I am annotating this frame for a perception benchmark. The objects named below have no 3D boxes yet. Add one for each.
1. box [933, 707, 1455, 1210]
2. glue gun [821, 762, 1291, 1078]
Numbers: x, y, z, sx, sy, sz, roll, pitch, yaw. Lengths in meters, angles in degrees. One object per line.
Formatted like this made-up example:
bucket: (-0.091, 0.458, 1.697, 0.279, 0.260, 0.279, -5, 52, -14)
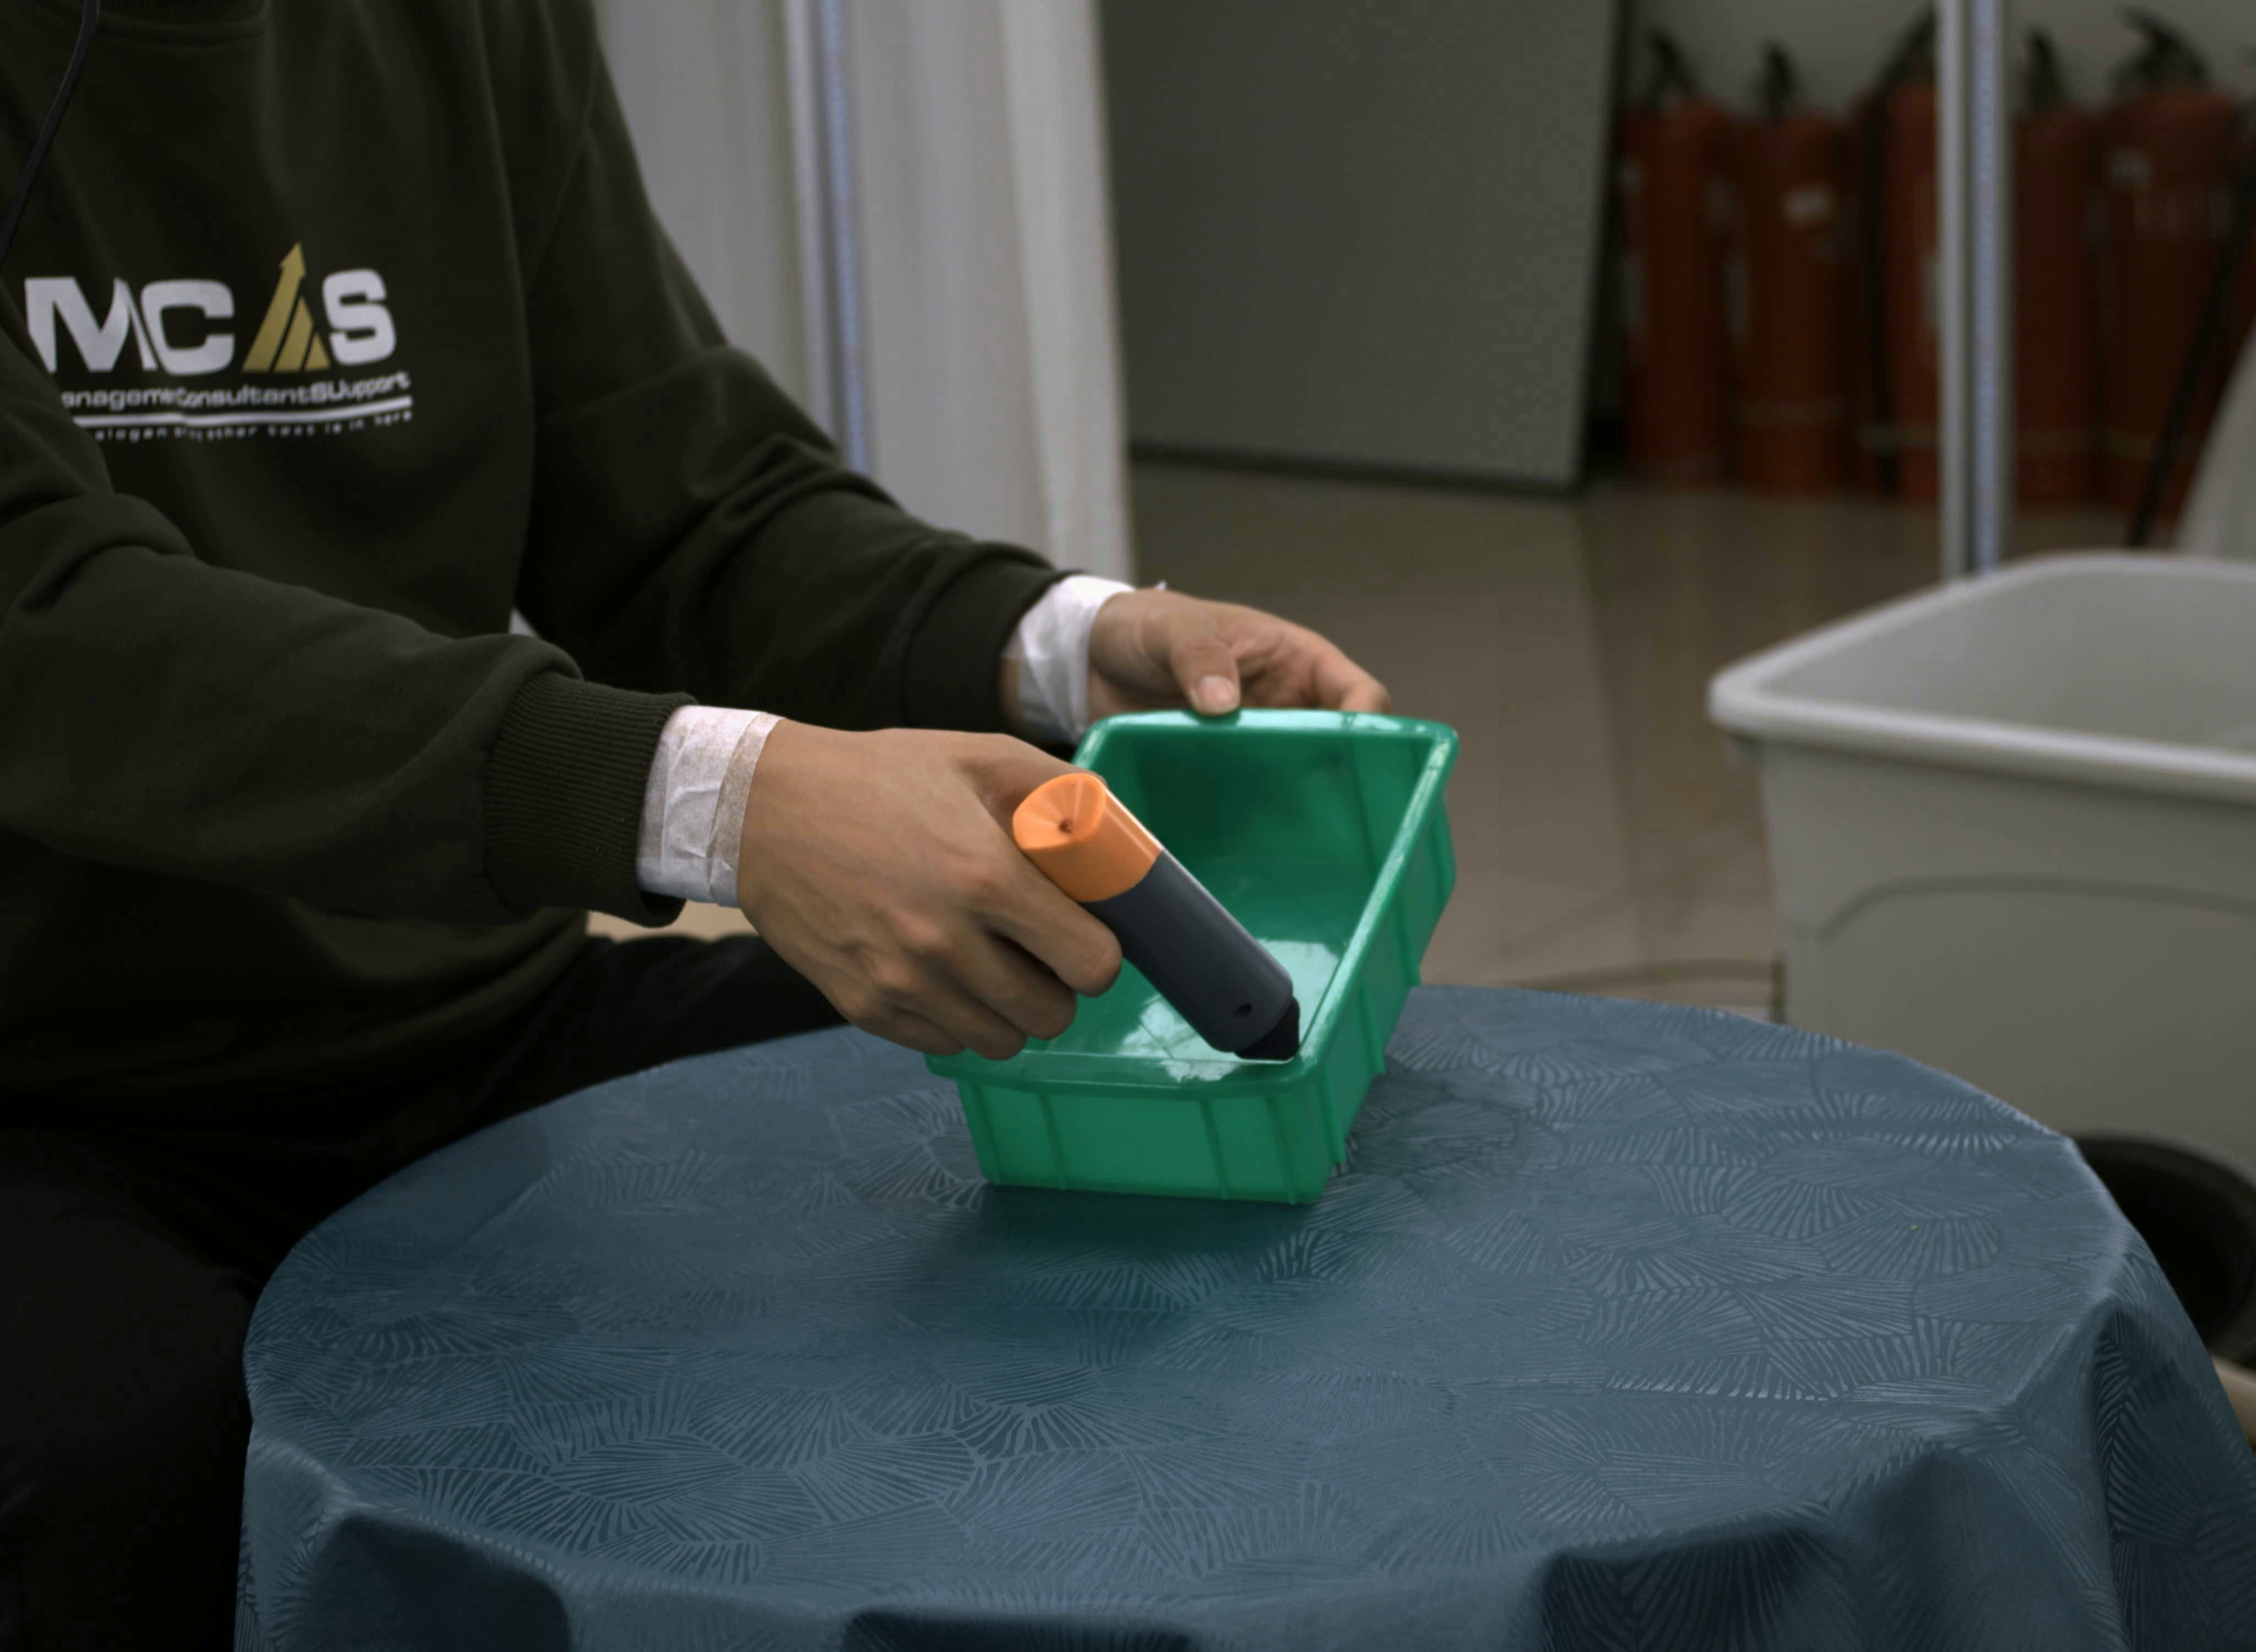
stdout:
box: (0.029, 0.046, 1.821, 0.138, 0.065, 0.210, 0, 38, 21)
glue gun: (-0.021, 0.034, 1.721, 0.140, 0.117, 0.041, 1, 42, 35)
